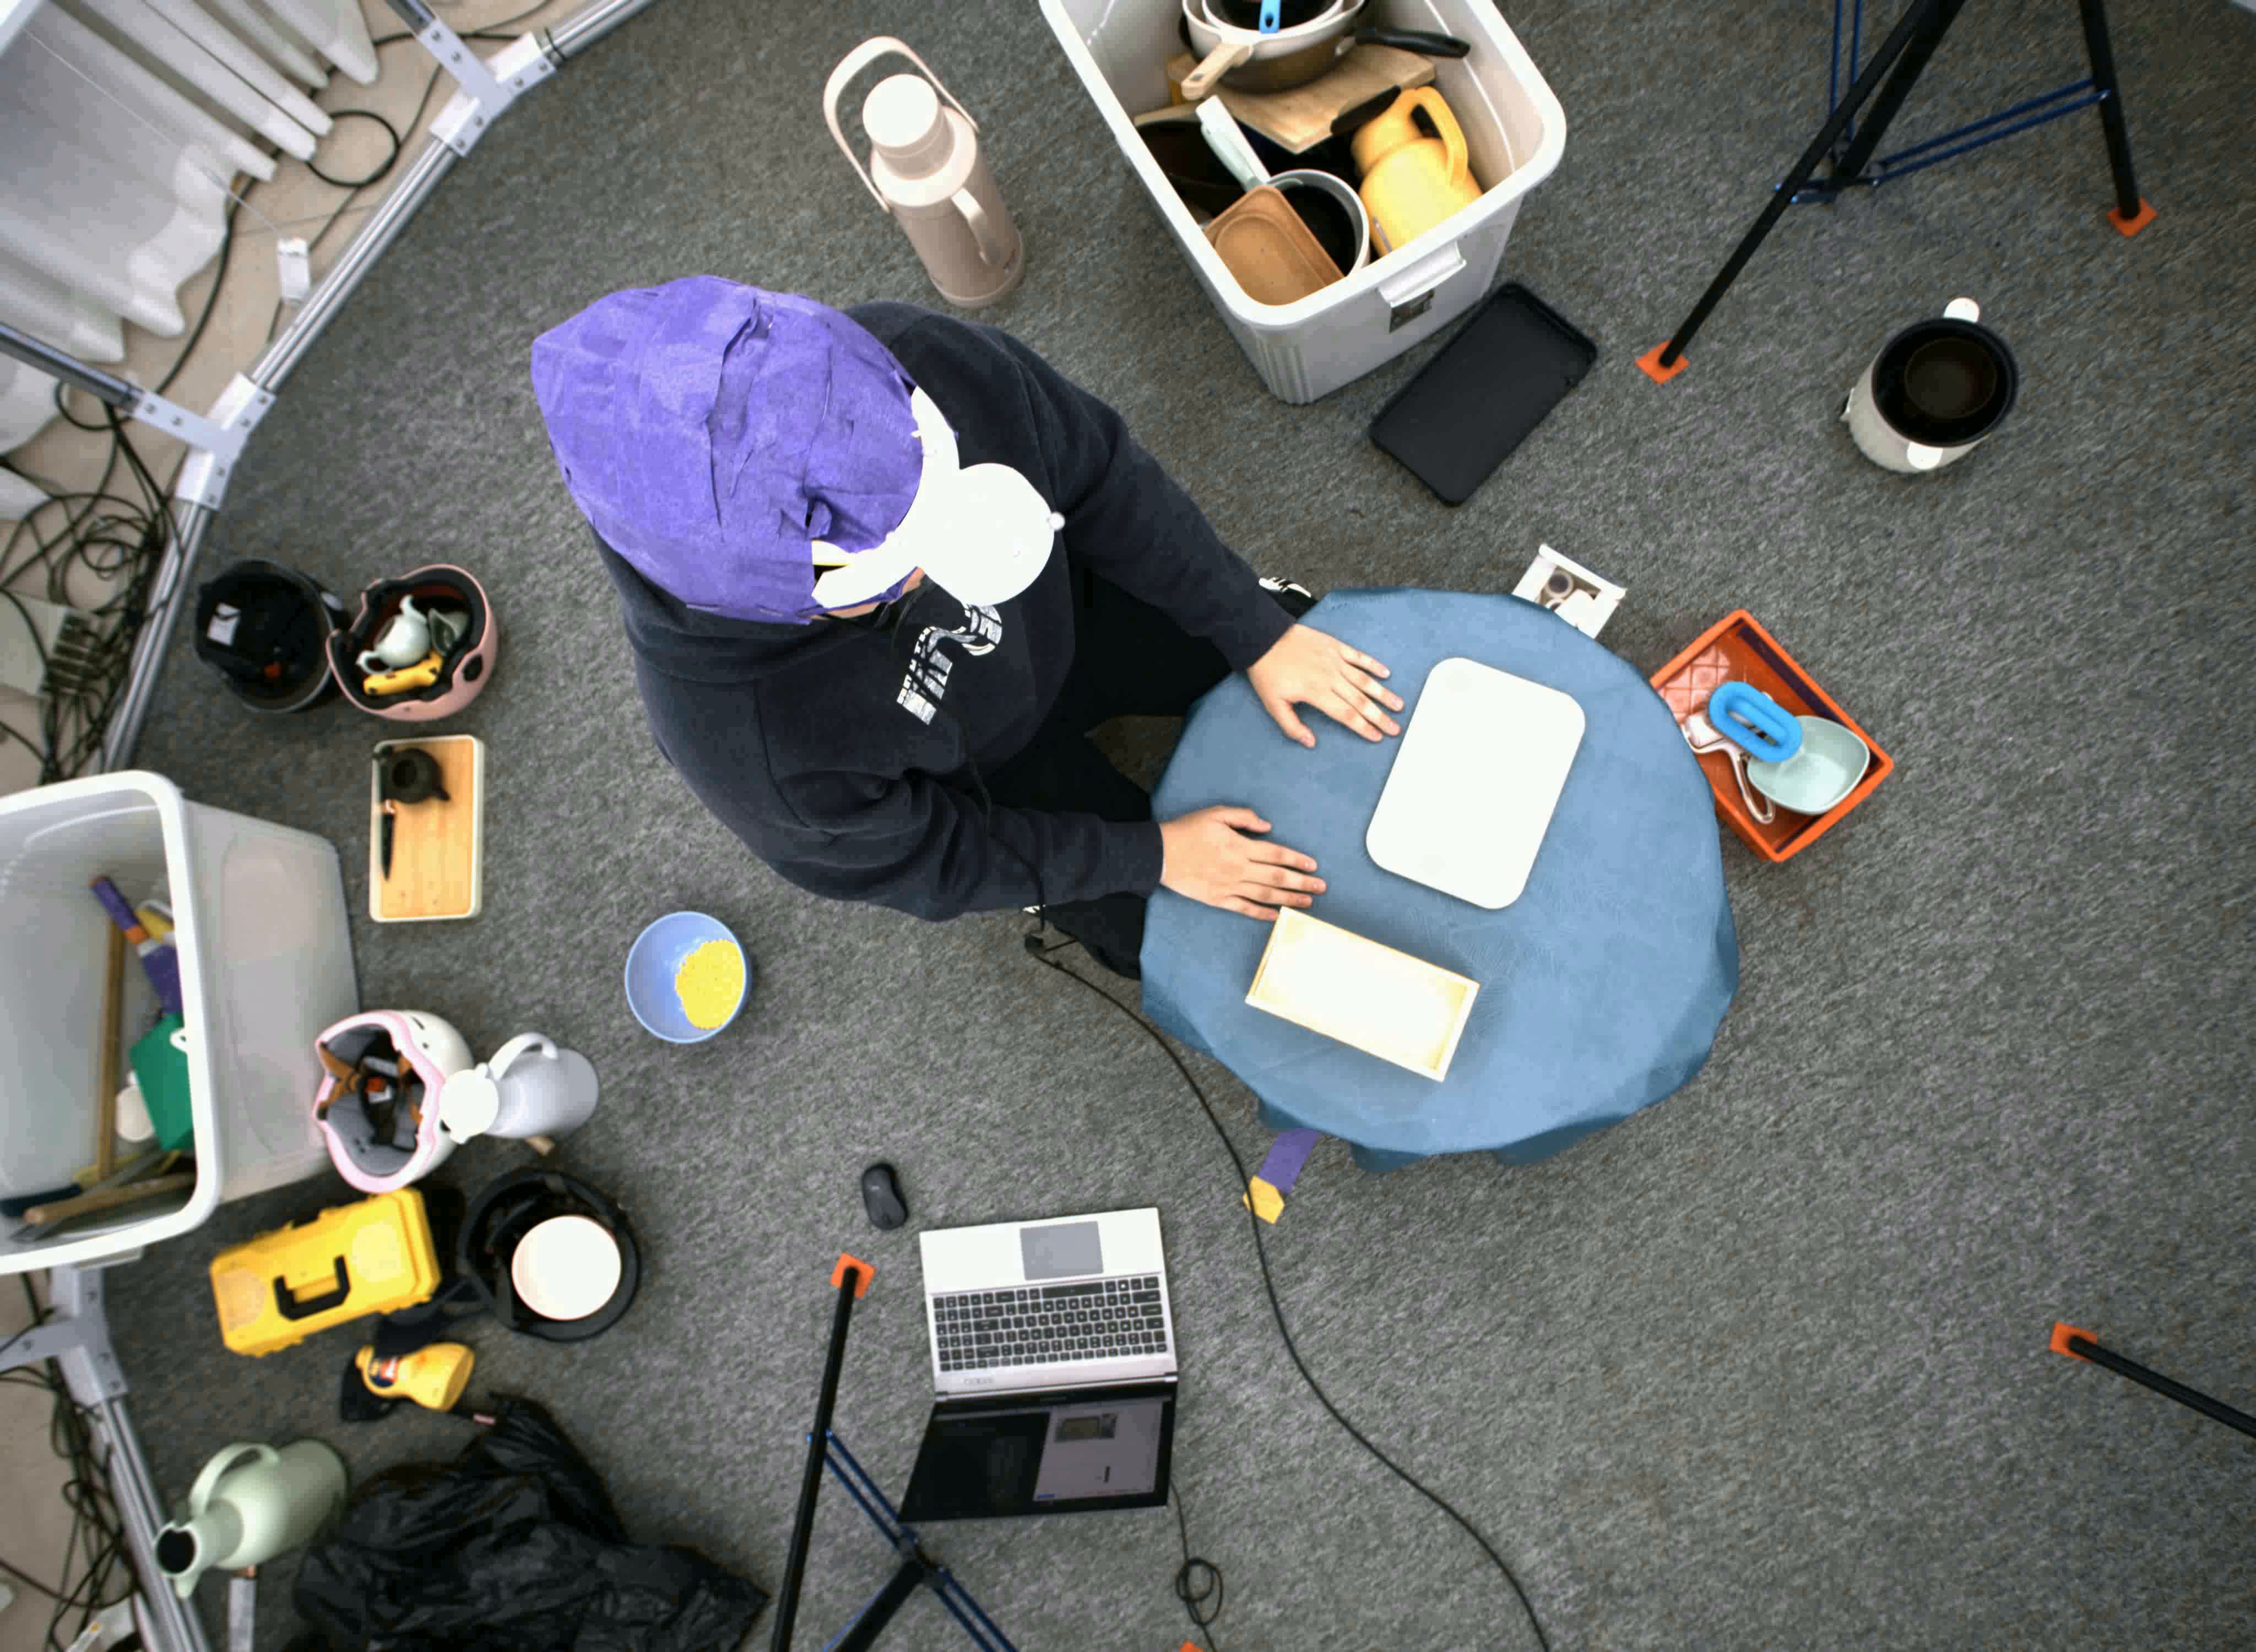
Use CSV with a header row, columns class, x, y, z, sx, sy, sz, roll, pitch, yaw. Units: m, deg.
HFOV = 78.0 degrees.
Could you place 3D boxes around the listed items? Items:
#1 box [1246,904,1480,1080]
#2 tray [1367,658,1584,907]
class,x,y,z,sx,sy,sz,roll,pitch,yaw
box,0.240,0.168,1.420,0.211,0.080,0.107,21,89,12
tray,0.363,-0.048,1.441,0.171,0.017,0.239,22,91,12
